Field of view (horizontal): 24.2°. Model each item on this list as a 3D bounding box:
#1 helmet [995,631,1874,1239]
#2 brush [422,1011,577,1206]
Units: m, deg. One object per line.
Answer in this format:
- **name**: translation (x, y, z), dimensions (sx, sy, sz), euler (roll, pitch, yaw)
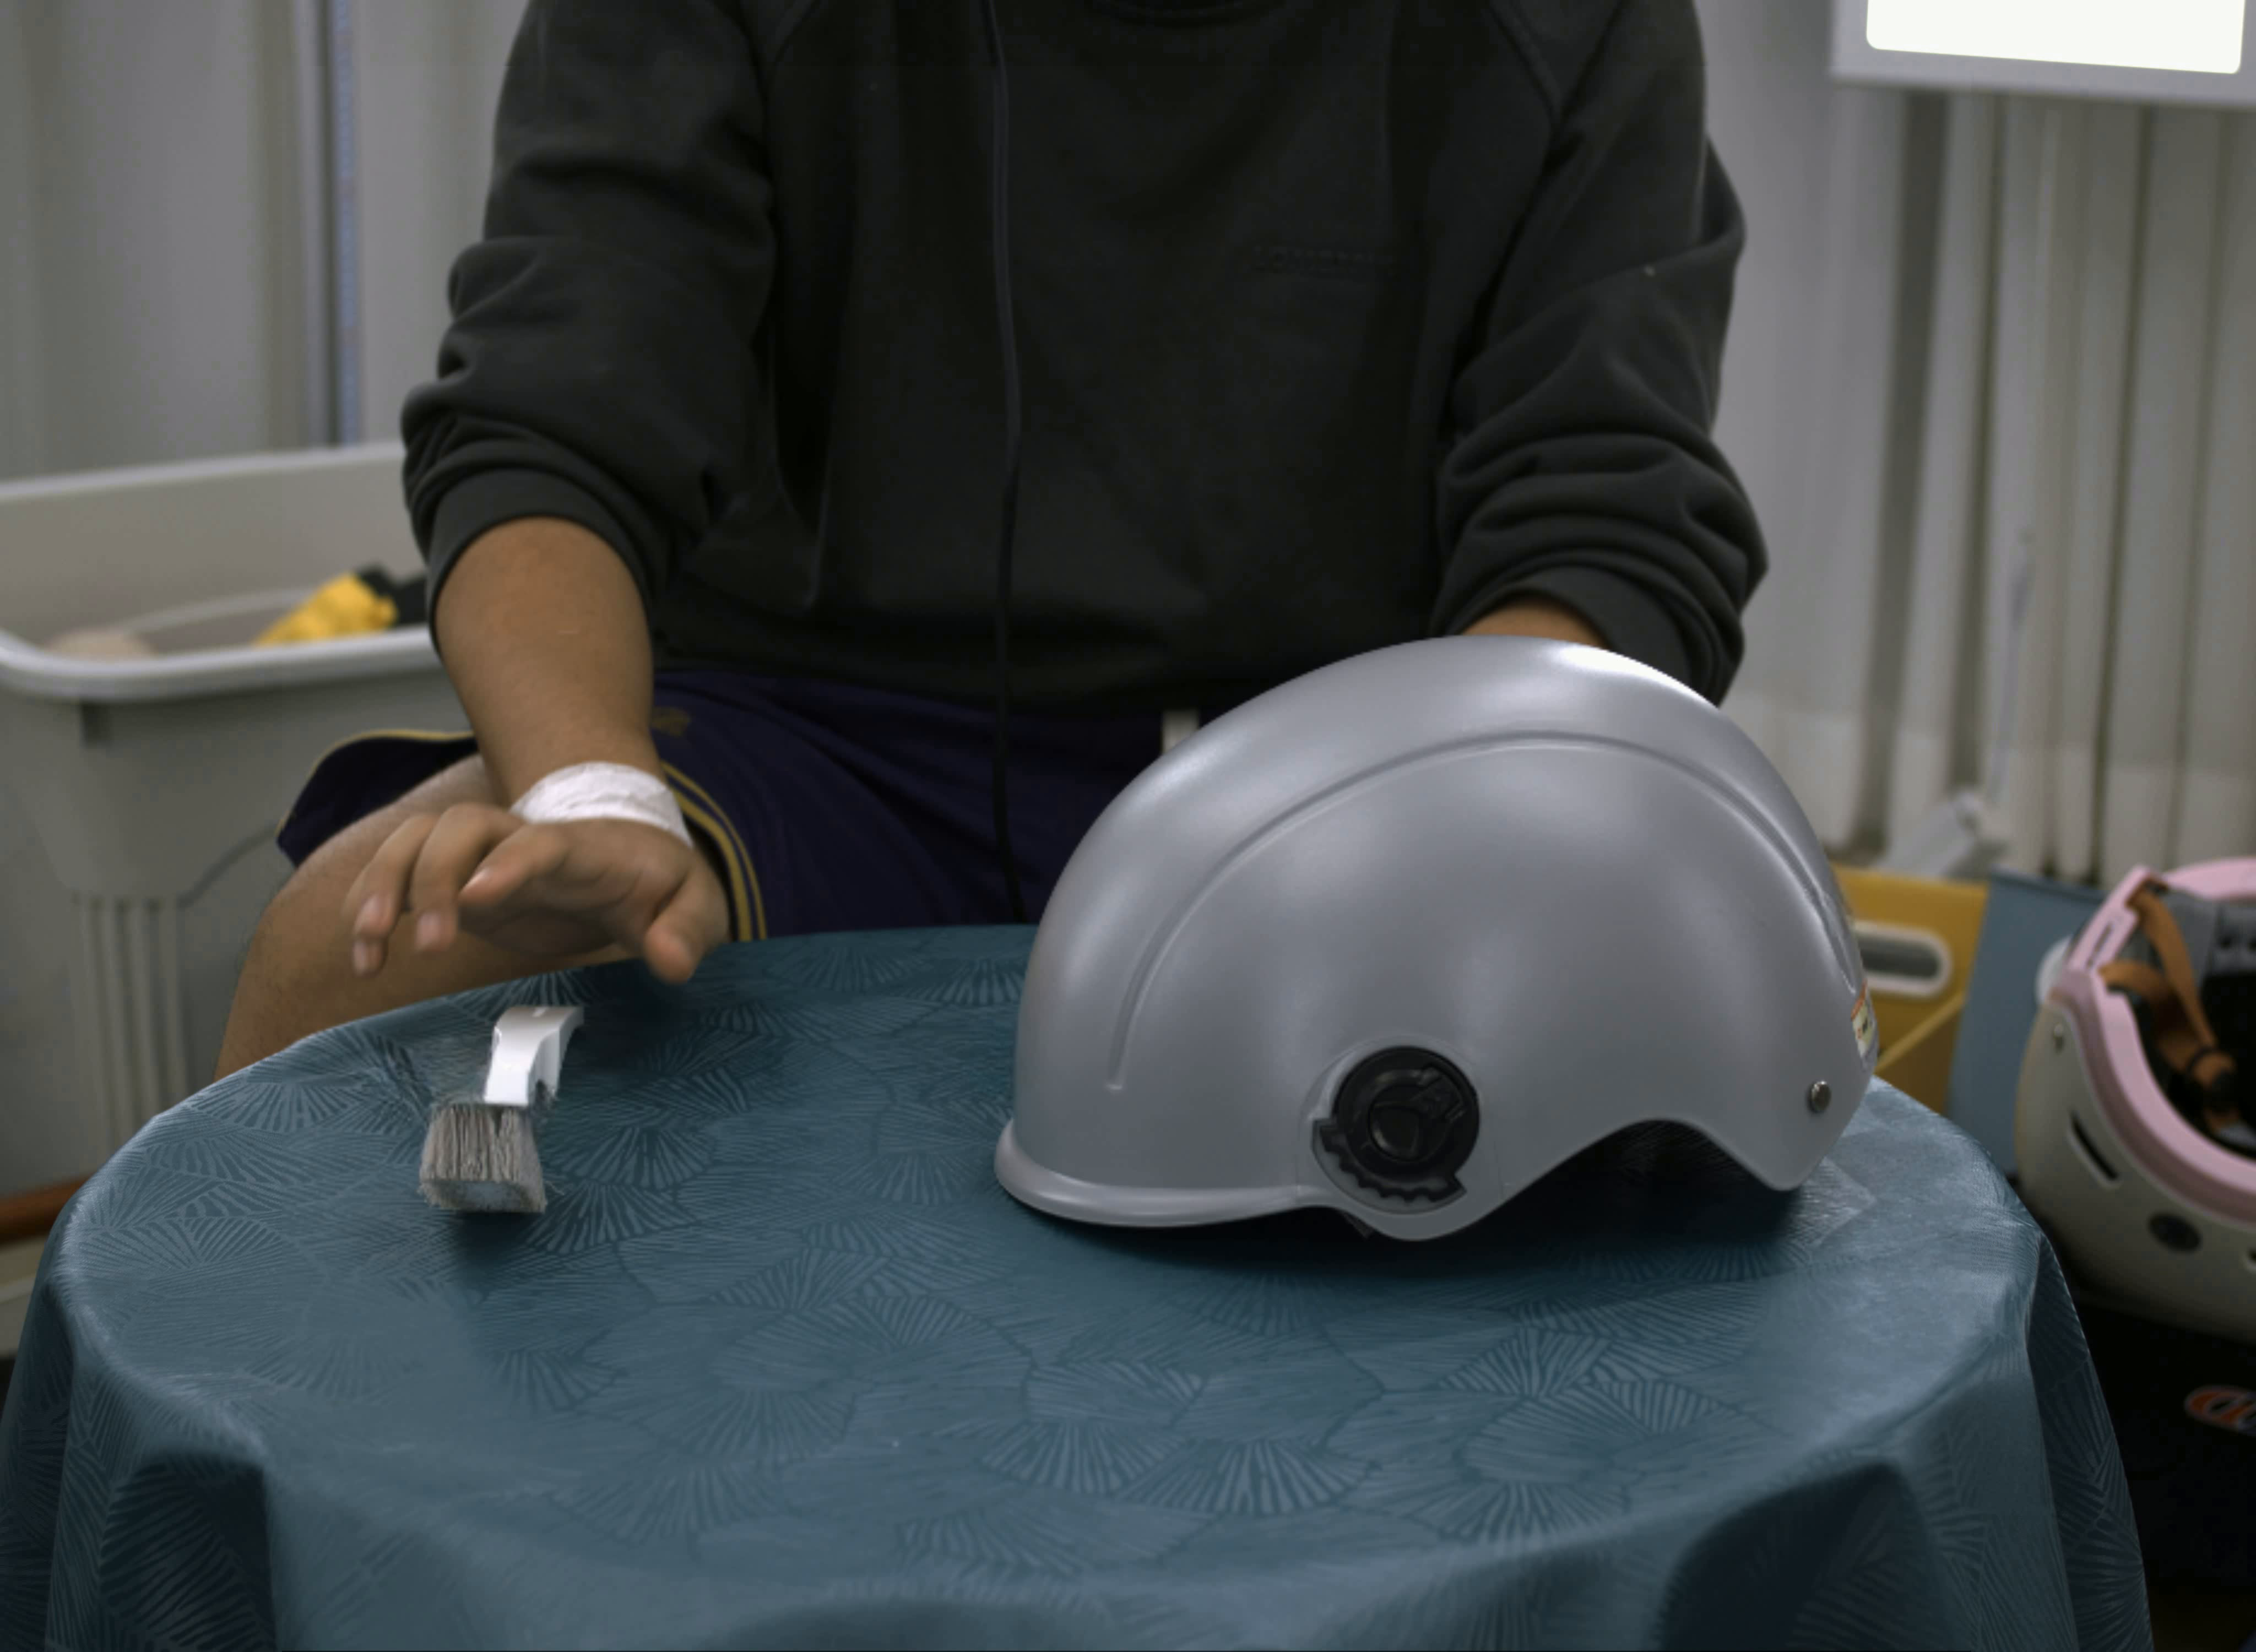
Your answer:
- **helmet**: translation (0.092, 0.026, 1.632), dimensions (0.276, 0.170, 0.230), euler (-4, 14, -10)
- **brush**: translation (-0.195, 0.088, 1.660), dimensions (0.034, 0.050, 0.243), euler (0, 2, -1)
